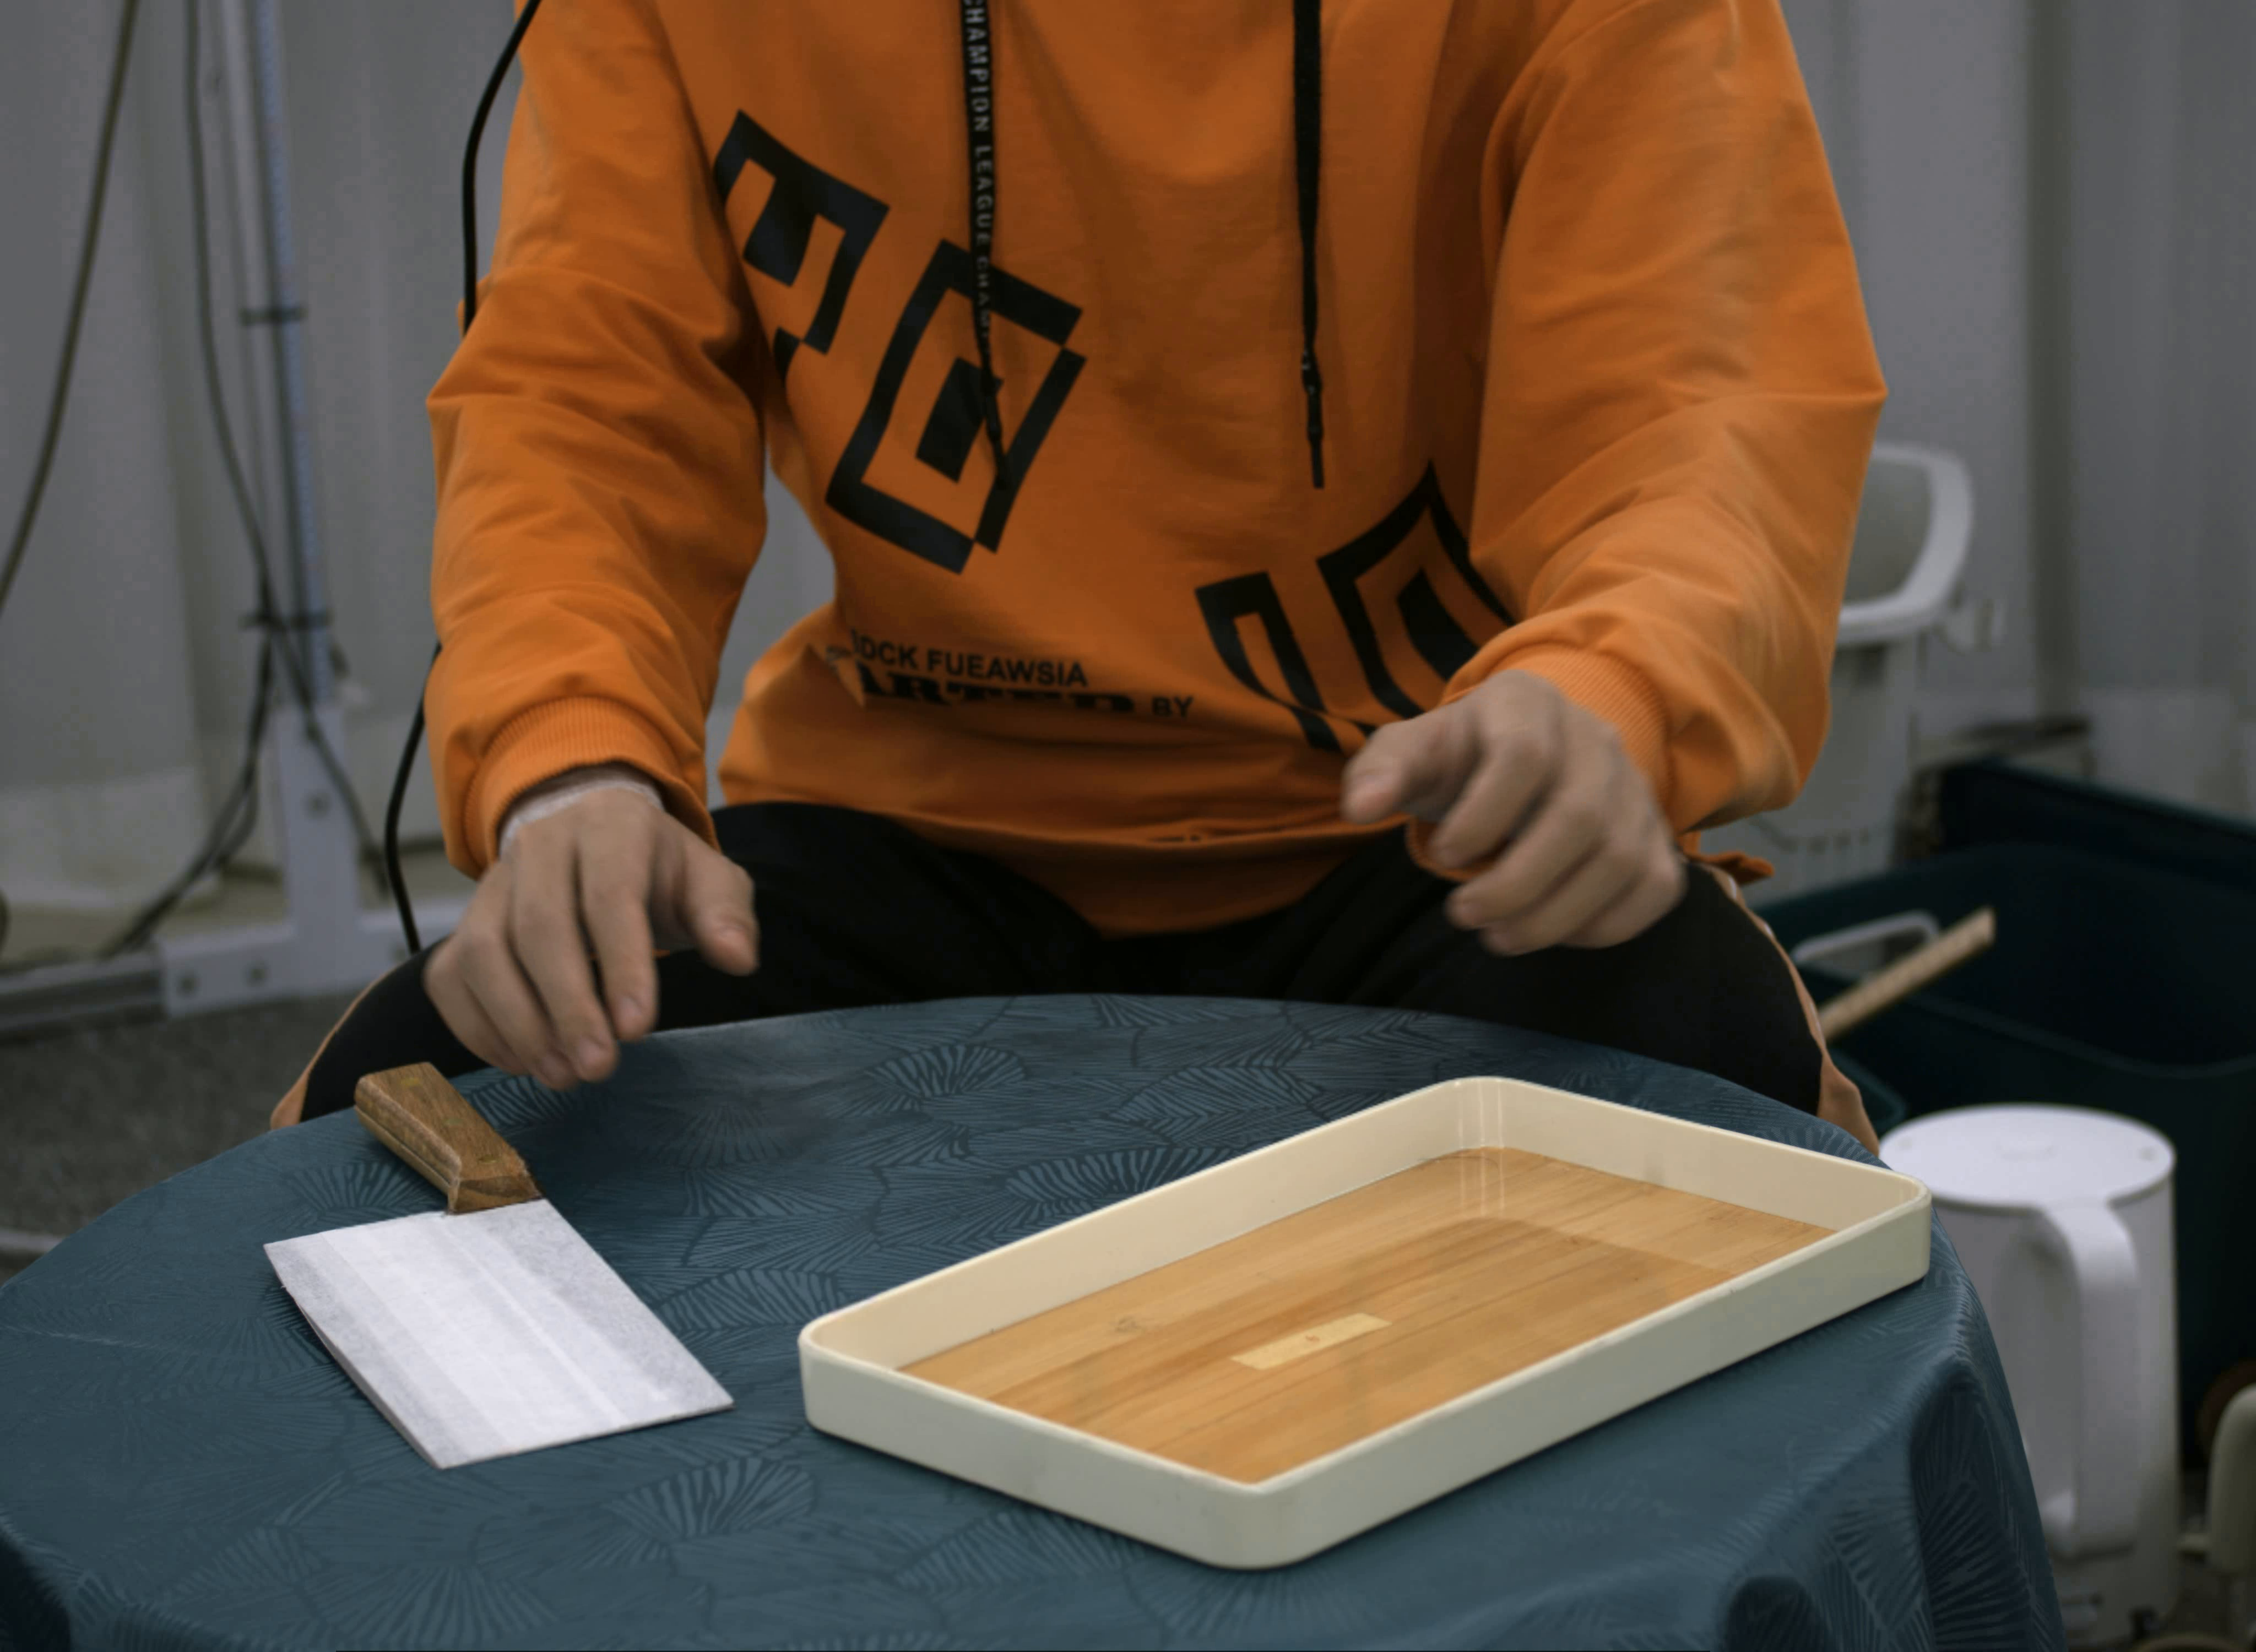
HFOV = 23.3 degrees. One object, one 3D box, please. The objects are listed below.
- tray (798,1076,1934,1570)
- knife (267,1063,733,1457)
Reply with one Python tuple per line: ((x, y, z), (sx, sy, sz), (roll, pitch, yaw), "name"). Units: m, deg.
((0.072, 0.137, 1.567), (0.300, 0.027, 0.192), (-18, 21, -42), "tray")
((-0.209, 0.131, 1.665), (0.092, 0.021, 0.308), (-11, 19, -21), "knife")
